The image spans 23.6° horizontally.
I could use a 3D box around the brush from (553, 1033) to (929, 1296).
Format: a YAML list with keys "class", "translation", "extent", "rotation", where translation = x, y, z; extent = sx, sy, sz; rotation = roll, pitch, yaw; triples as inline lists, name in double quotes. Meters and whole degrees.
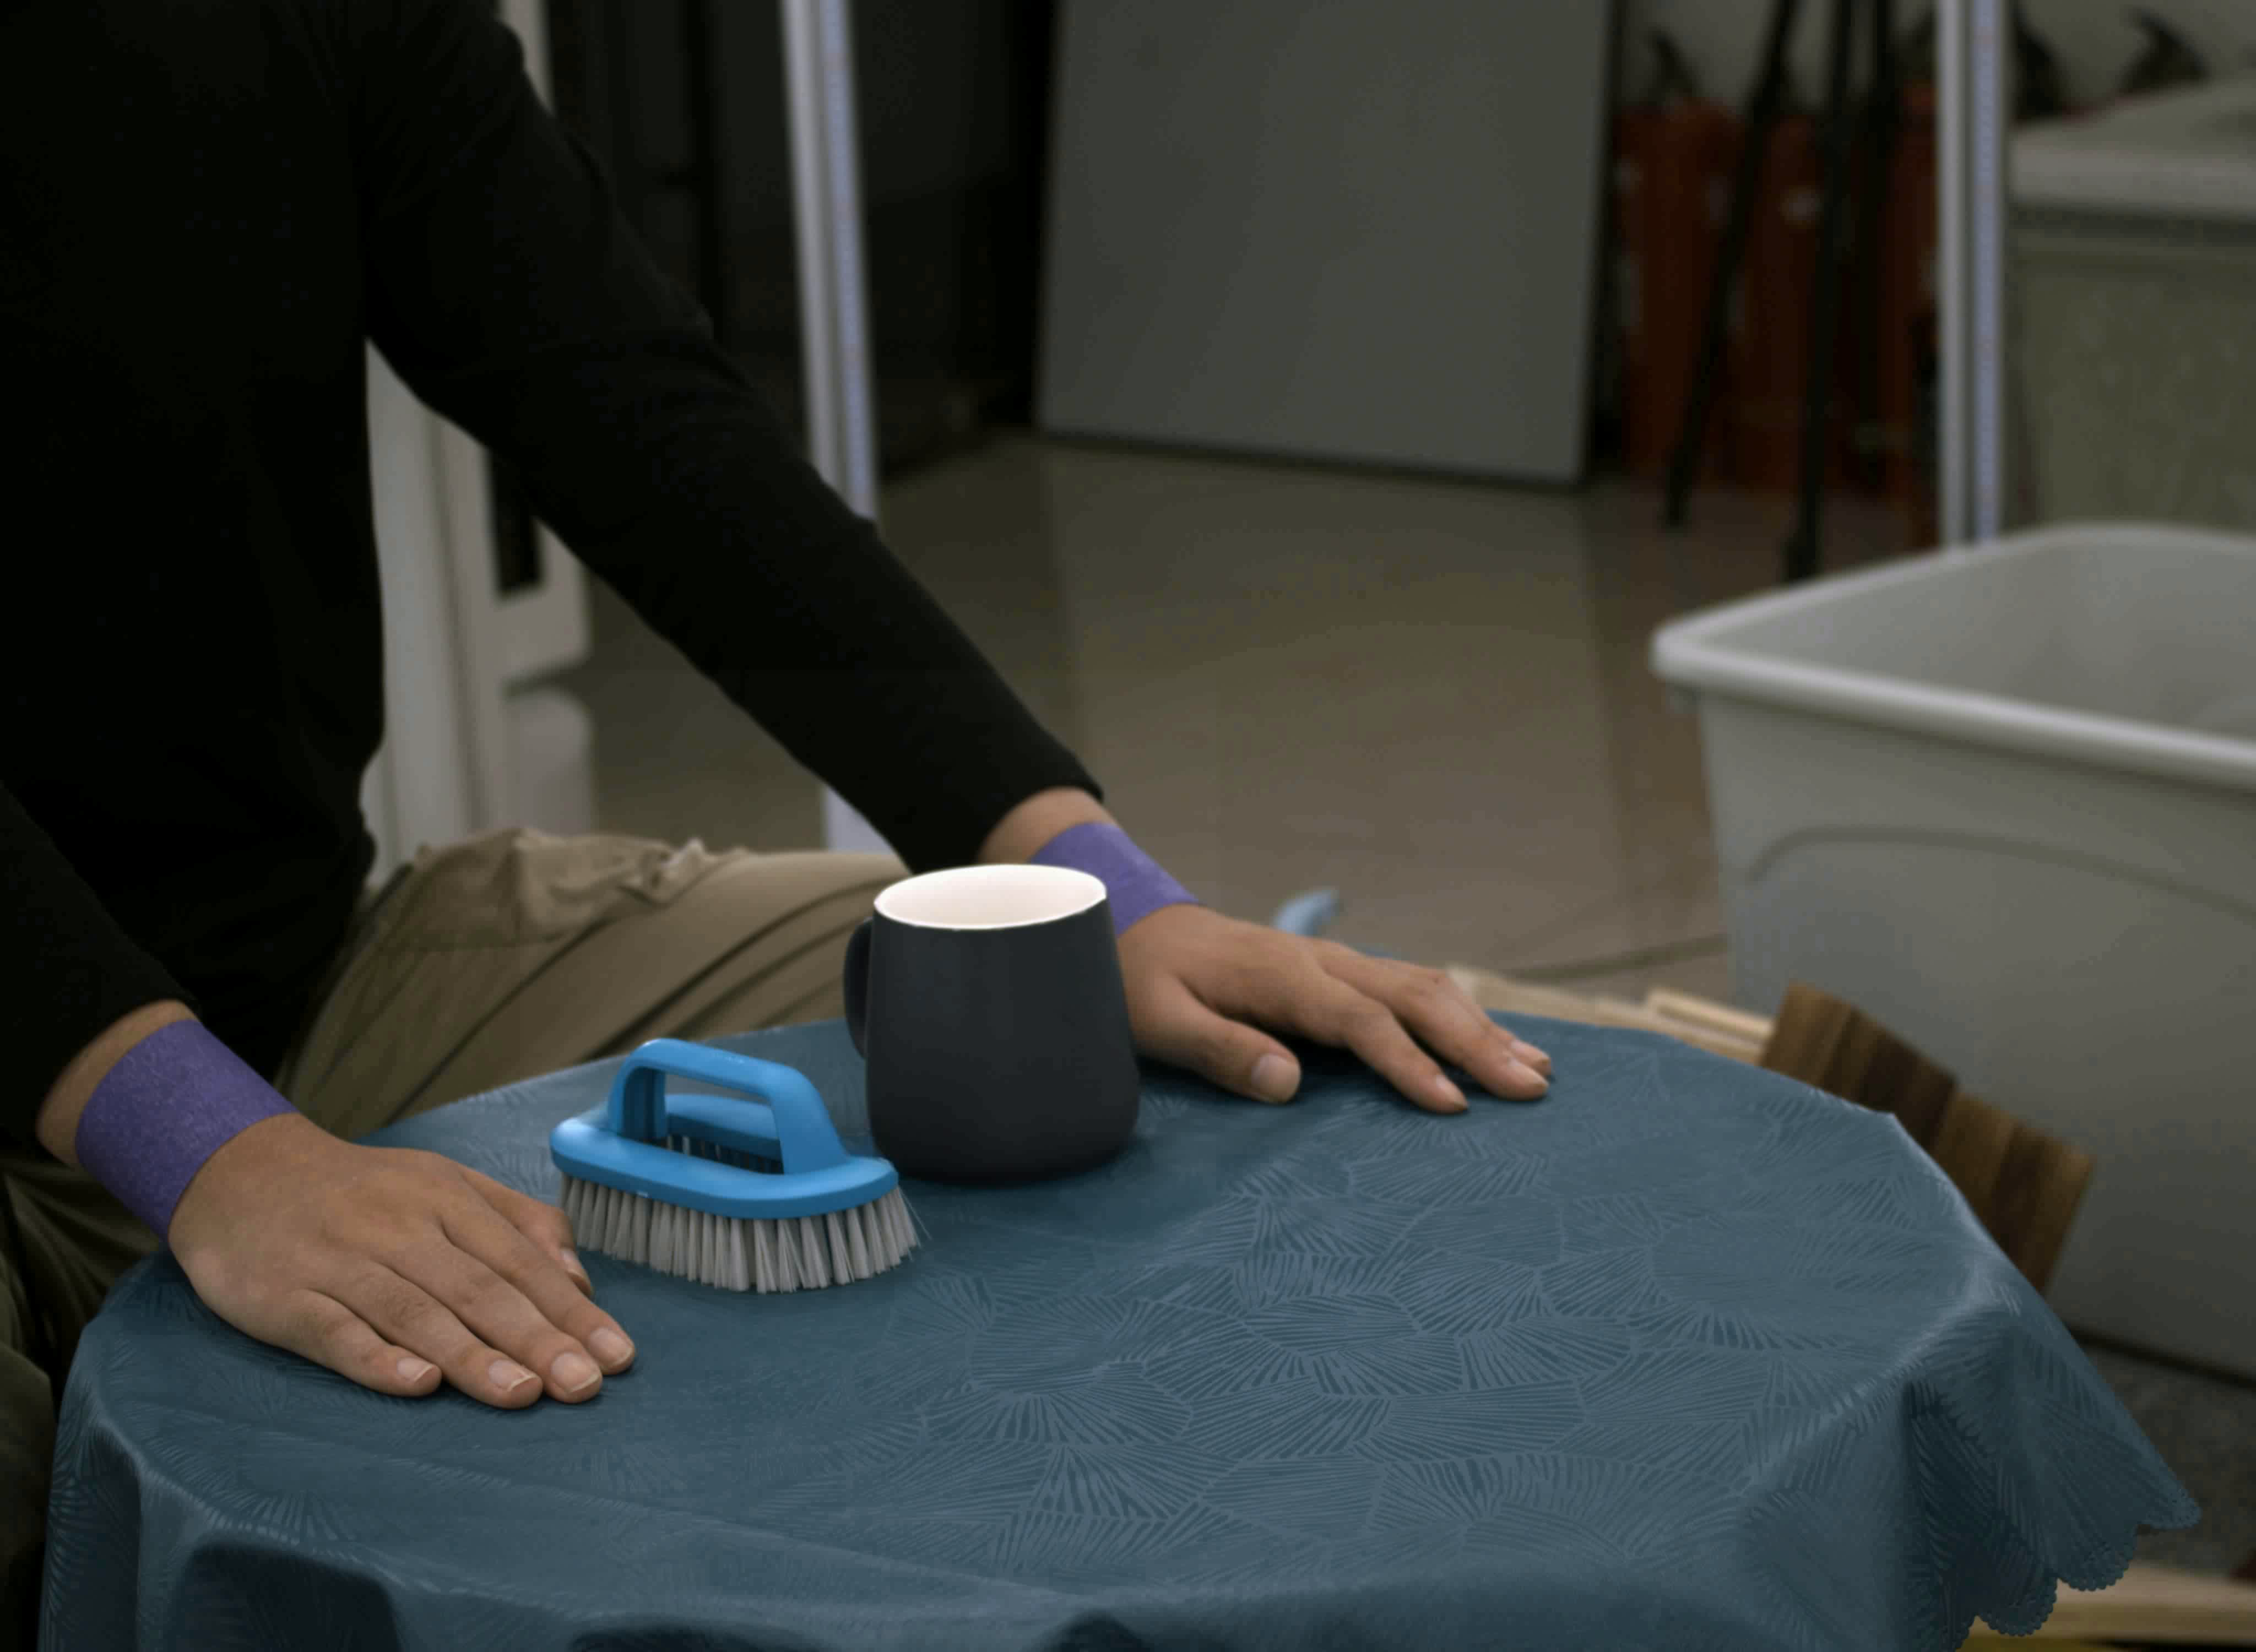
- class: "brush"
  translation: [-0.129, 0.102, 1.745]
  extent: [0.083, 0.064, 0.143]
  rotation: [-22, 21, -40]

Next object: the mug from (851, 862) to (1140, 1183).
- class: "mug"
  translation: [-0.052, 0.063, 1.822]
  extent: [0.091, 0.091, 0.124]
  rotation: [-13, 18, -36]
